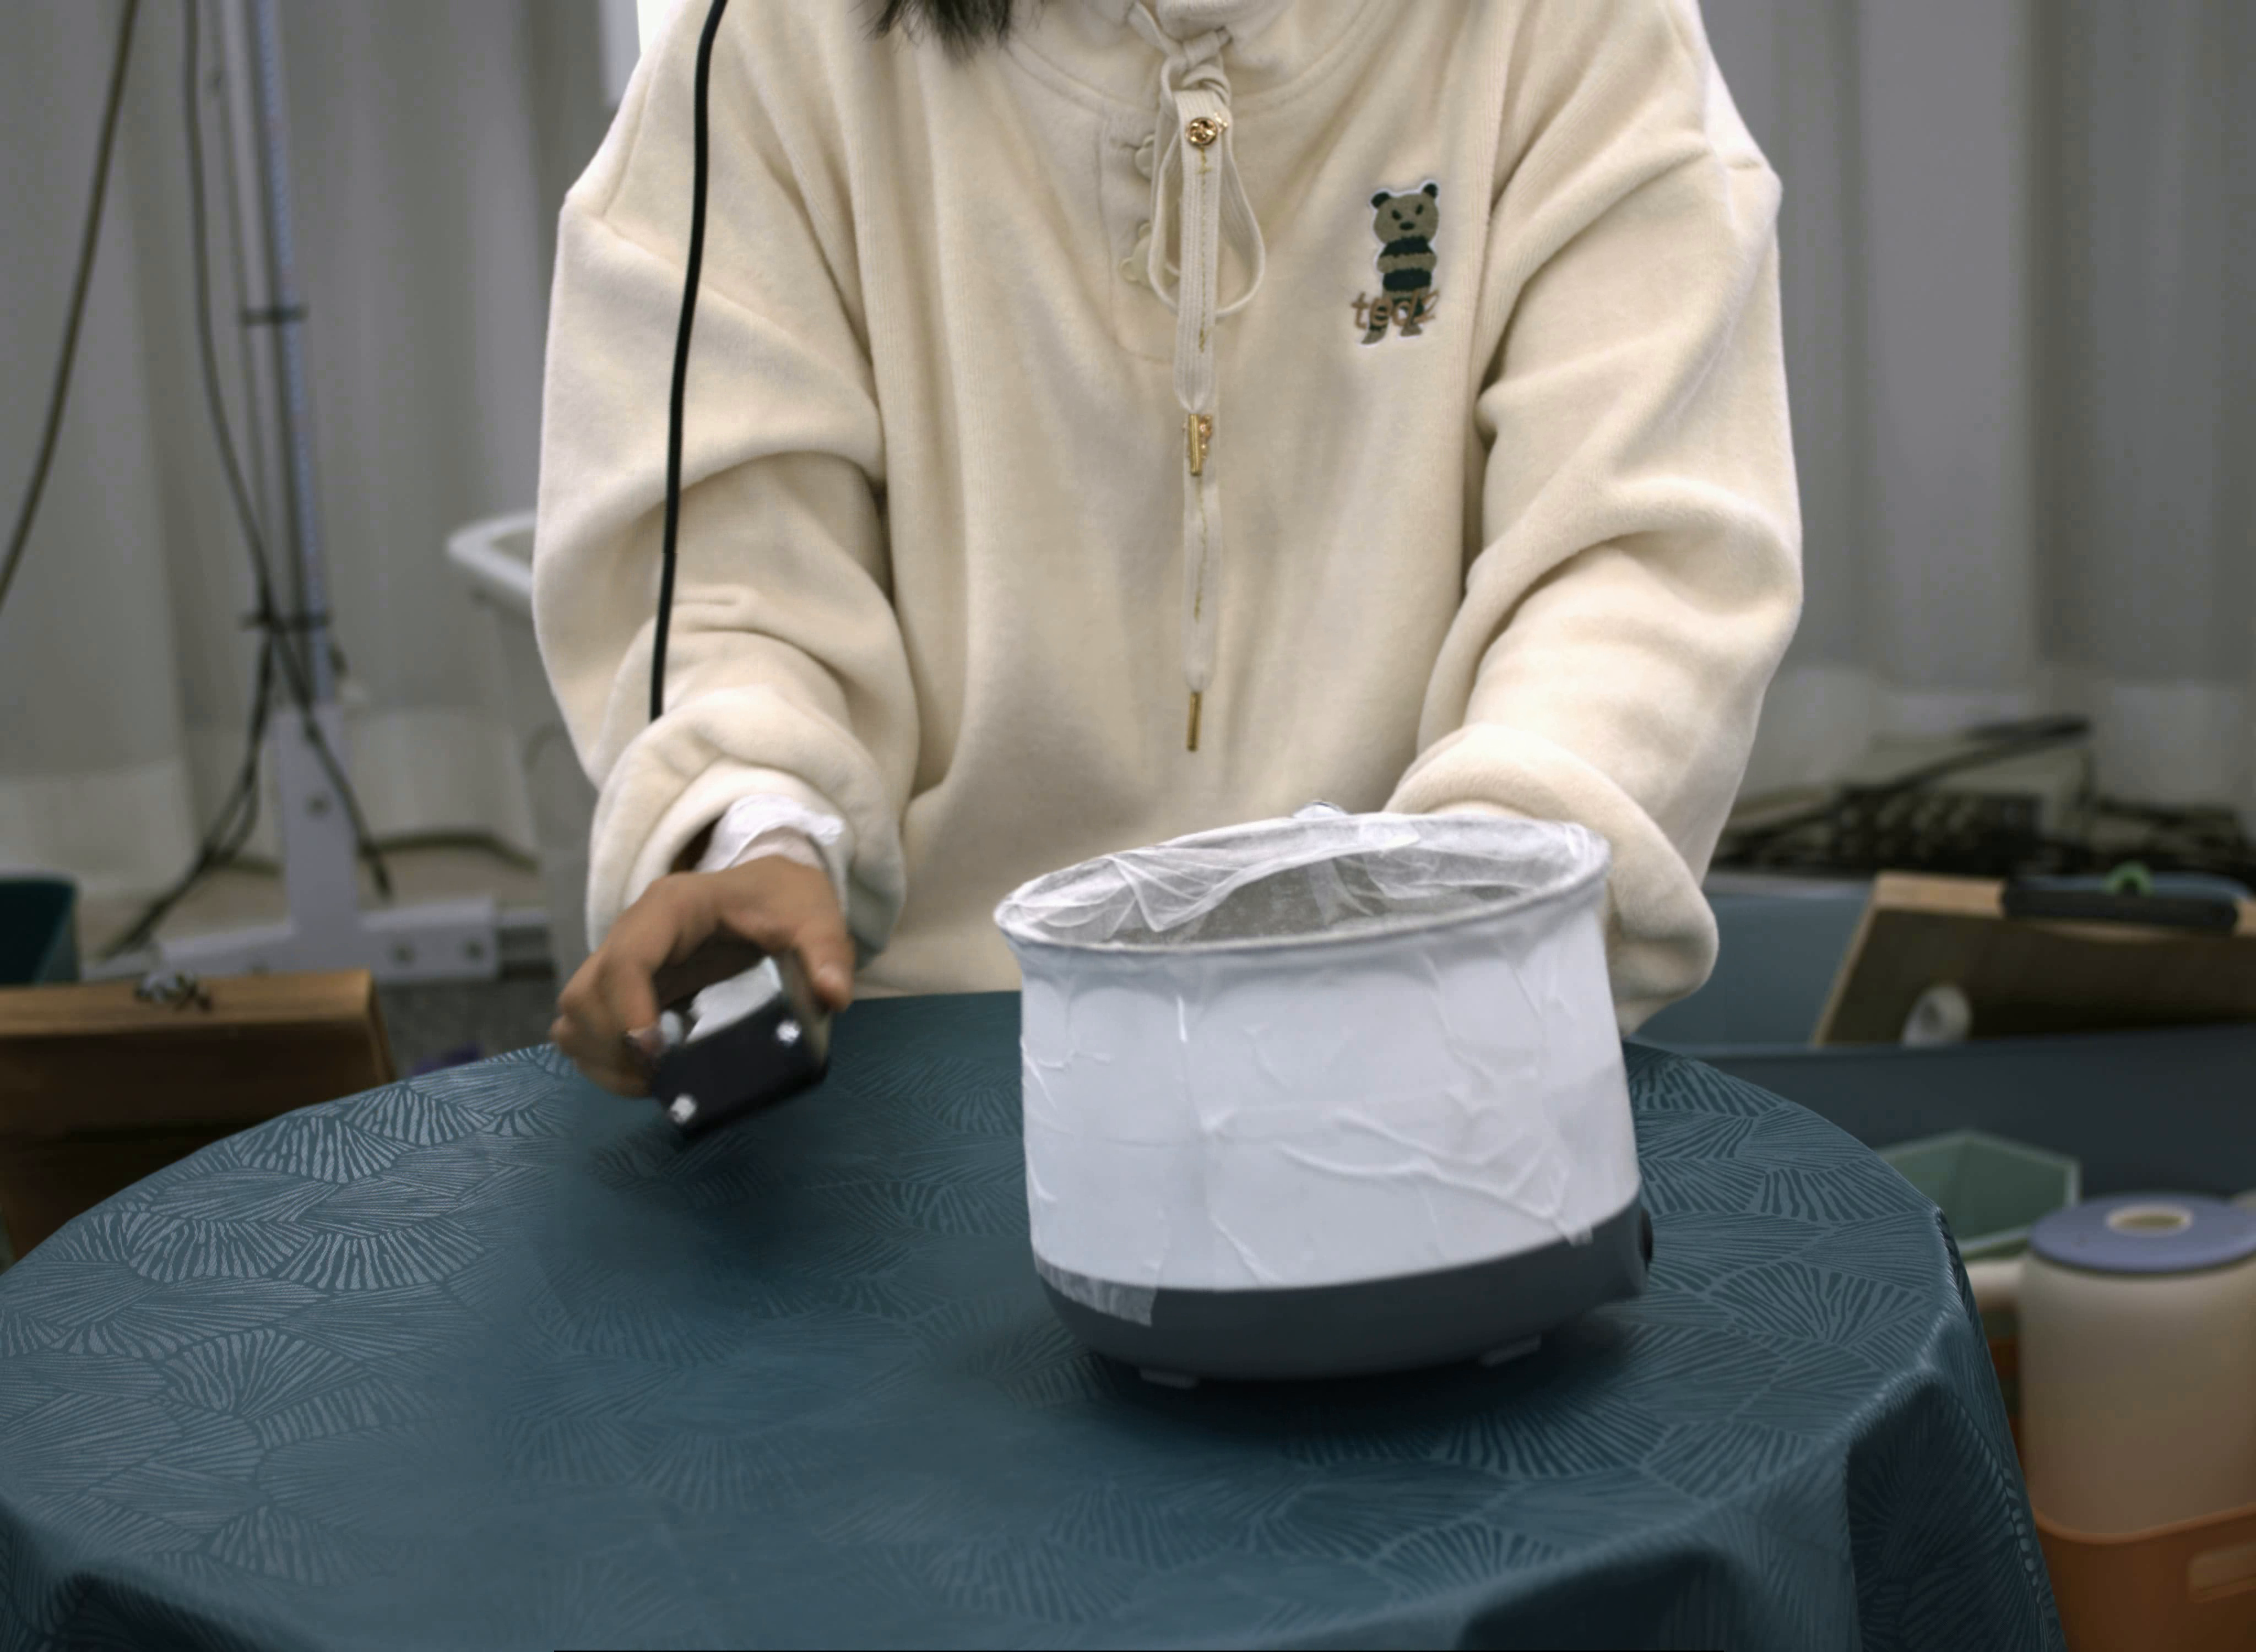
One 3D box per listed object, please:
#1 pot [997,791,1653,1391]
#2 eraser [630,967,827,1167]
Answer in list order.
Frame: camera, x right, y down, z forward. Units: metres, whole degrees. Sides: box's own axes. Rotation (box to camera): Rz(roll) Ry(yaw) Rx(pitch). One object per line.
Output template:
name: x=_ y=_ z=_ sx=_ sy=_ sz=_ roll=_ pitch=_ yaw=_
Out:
pot: x=0.058 y=0.071 z=1.583 sx=0.178 sy=0.136 sz=0.235 roll=-4 pitch=11 yaw=4
eraser: x=-0.122 y=0.074 z=1.699 sx=0.053 sy=0.030 sz=0.126 roll=-23 pitch=7 yaw=2
